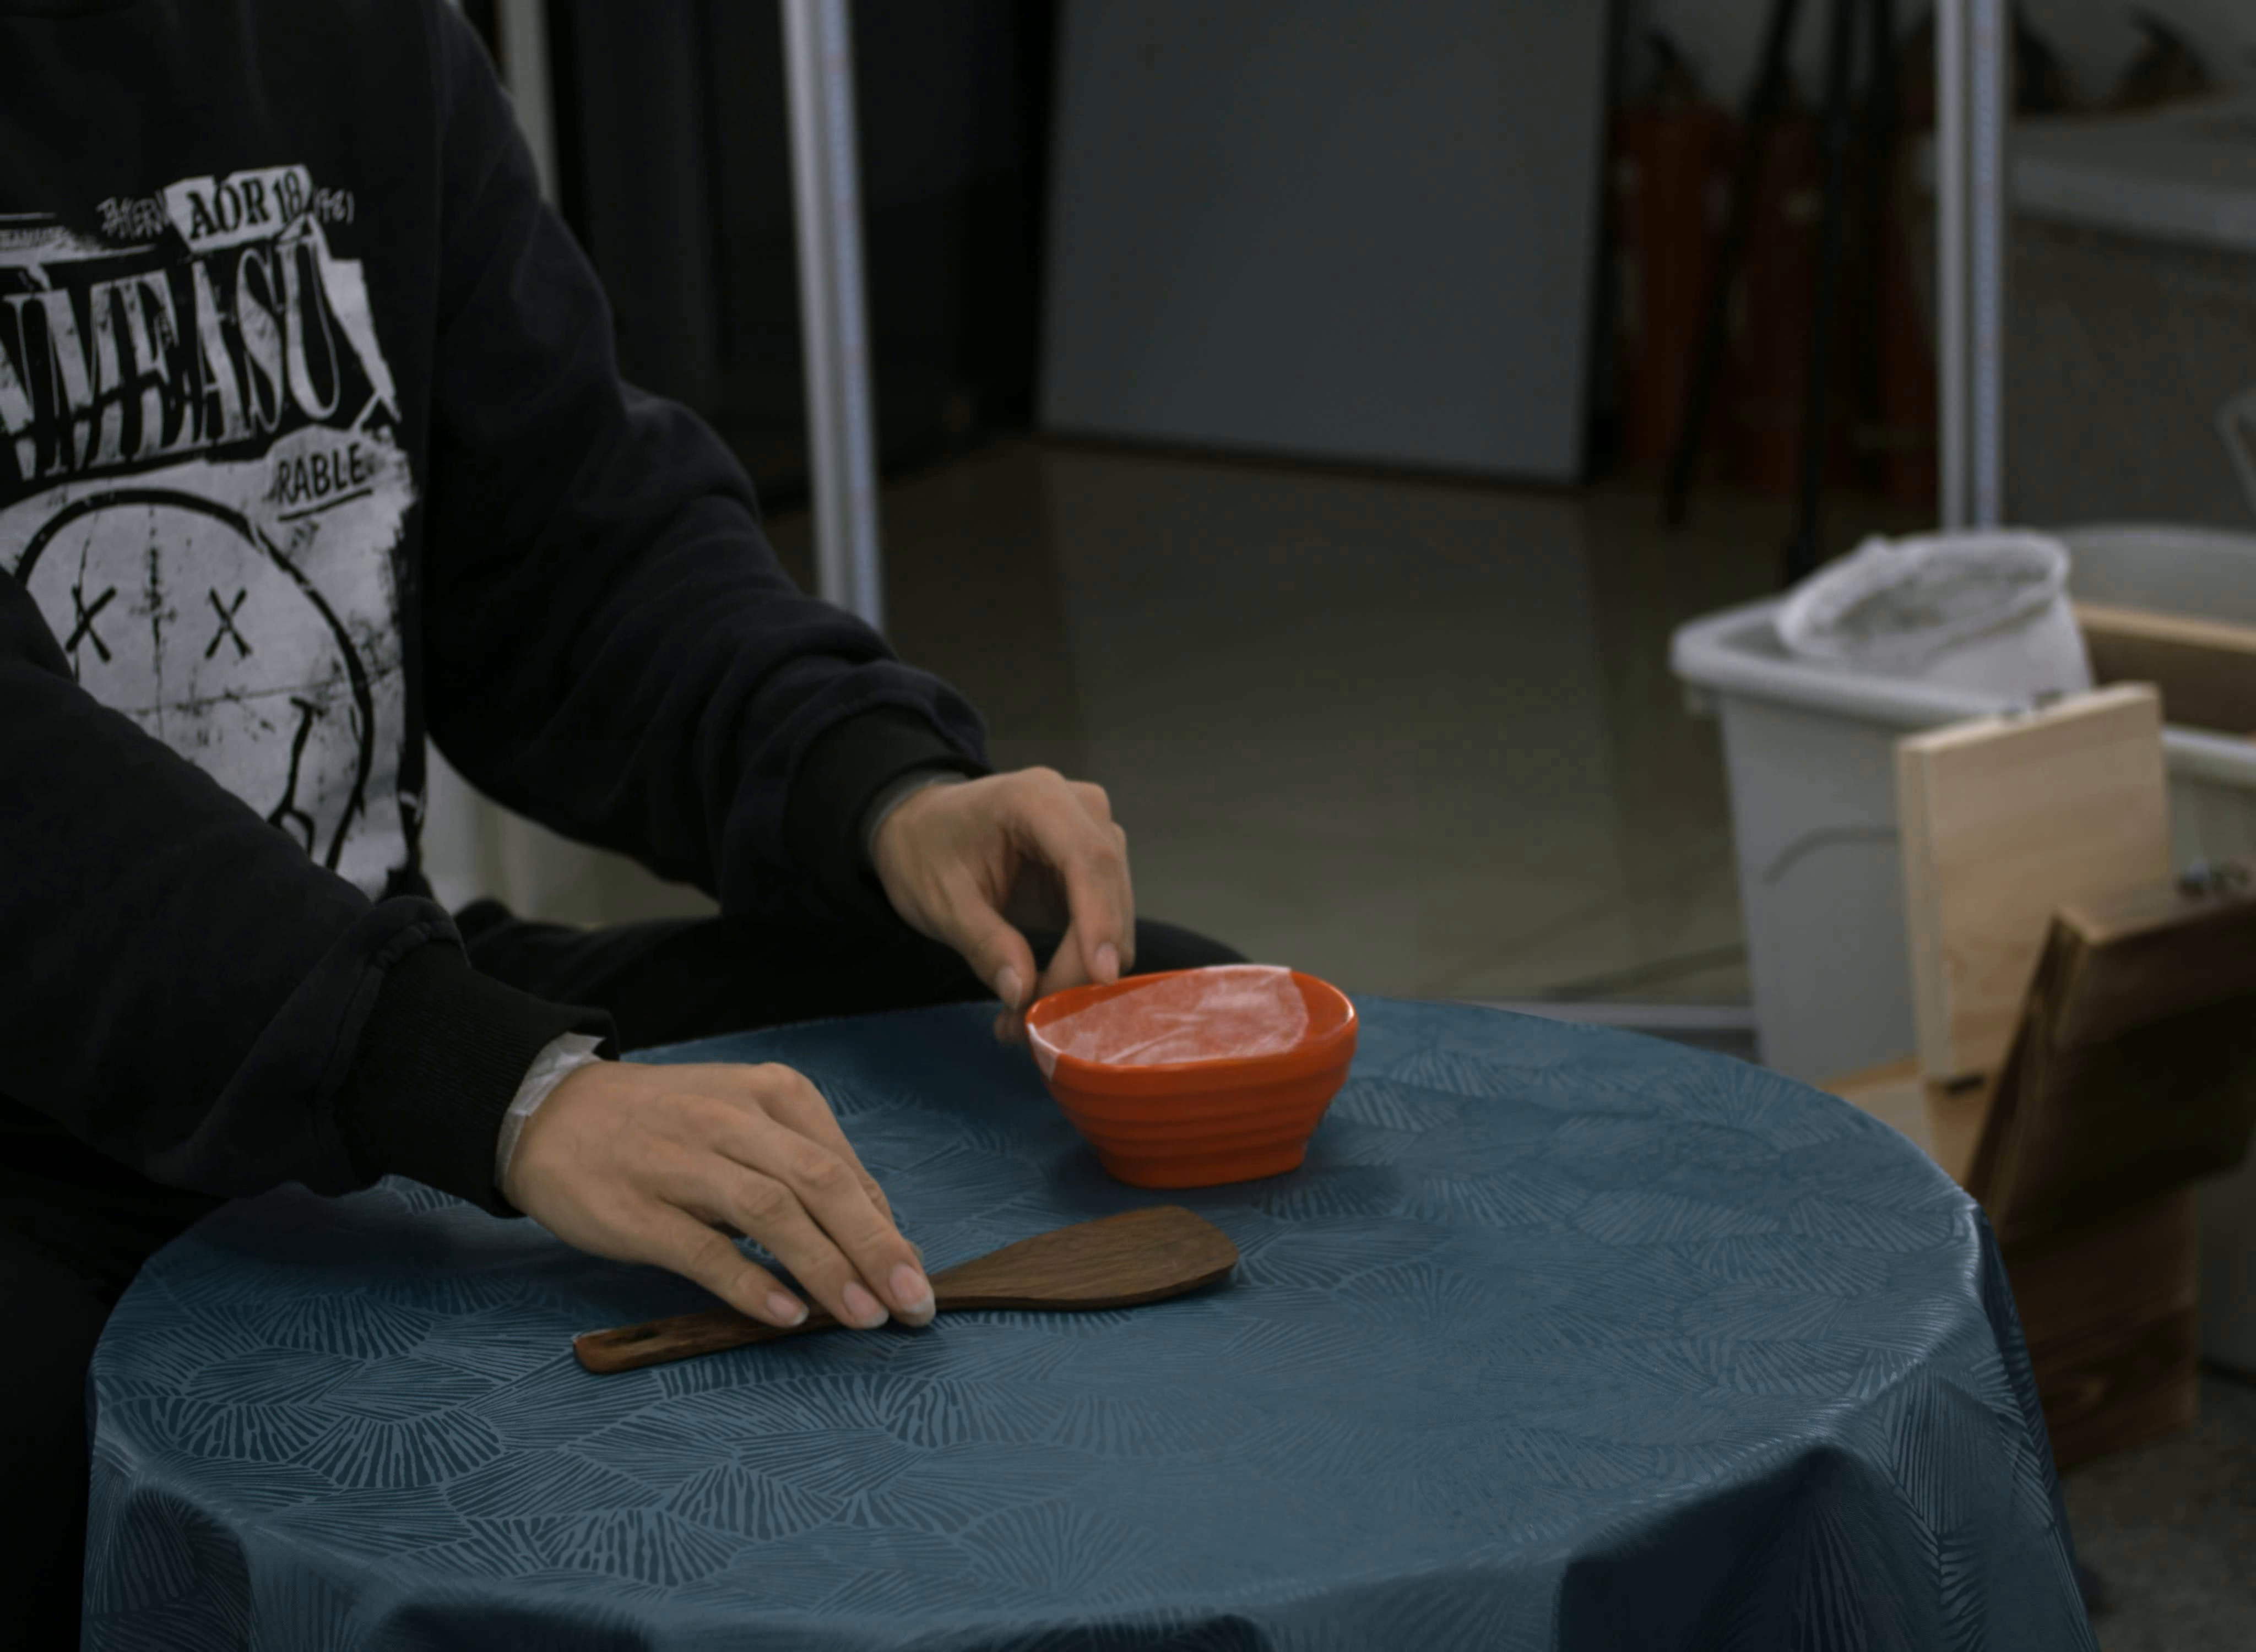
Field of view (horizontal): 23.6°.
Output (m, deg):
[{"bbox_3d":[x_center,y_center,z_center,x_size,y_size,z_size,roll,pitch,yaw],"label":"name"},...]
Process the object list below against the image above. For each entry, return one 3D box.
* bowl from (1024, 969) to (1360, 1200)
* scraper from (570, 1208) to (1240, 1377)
[{"bbox_3d":[0.022,0.089,1.796,0.117,0.052,0.119,-4,15,0],"label":"bowl"},{"bbox_3d":[-0.069,0.147,1.669,0.207,0.011,0.076,-9,13,-17],"label":"scraper"}]
